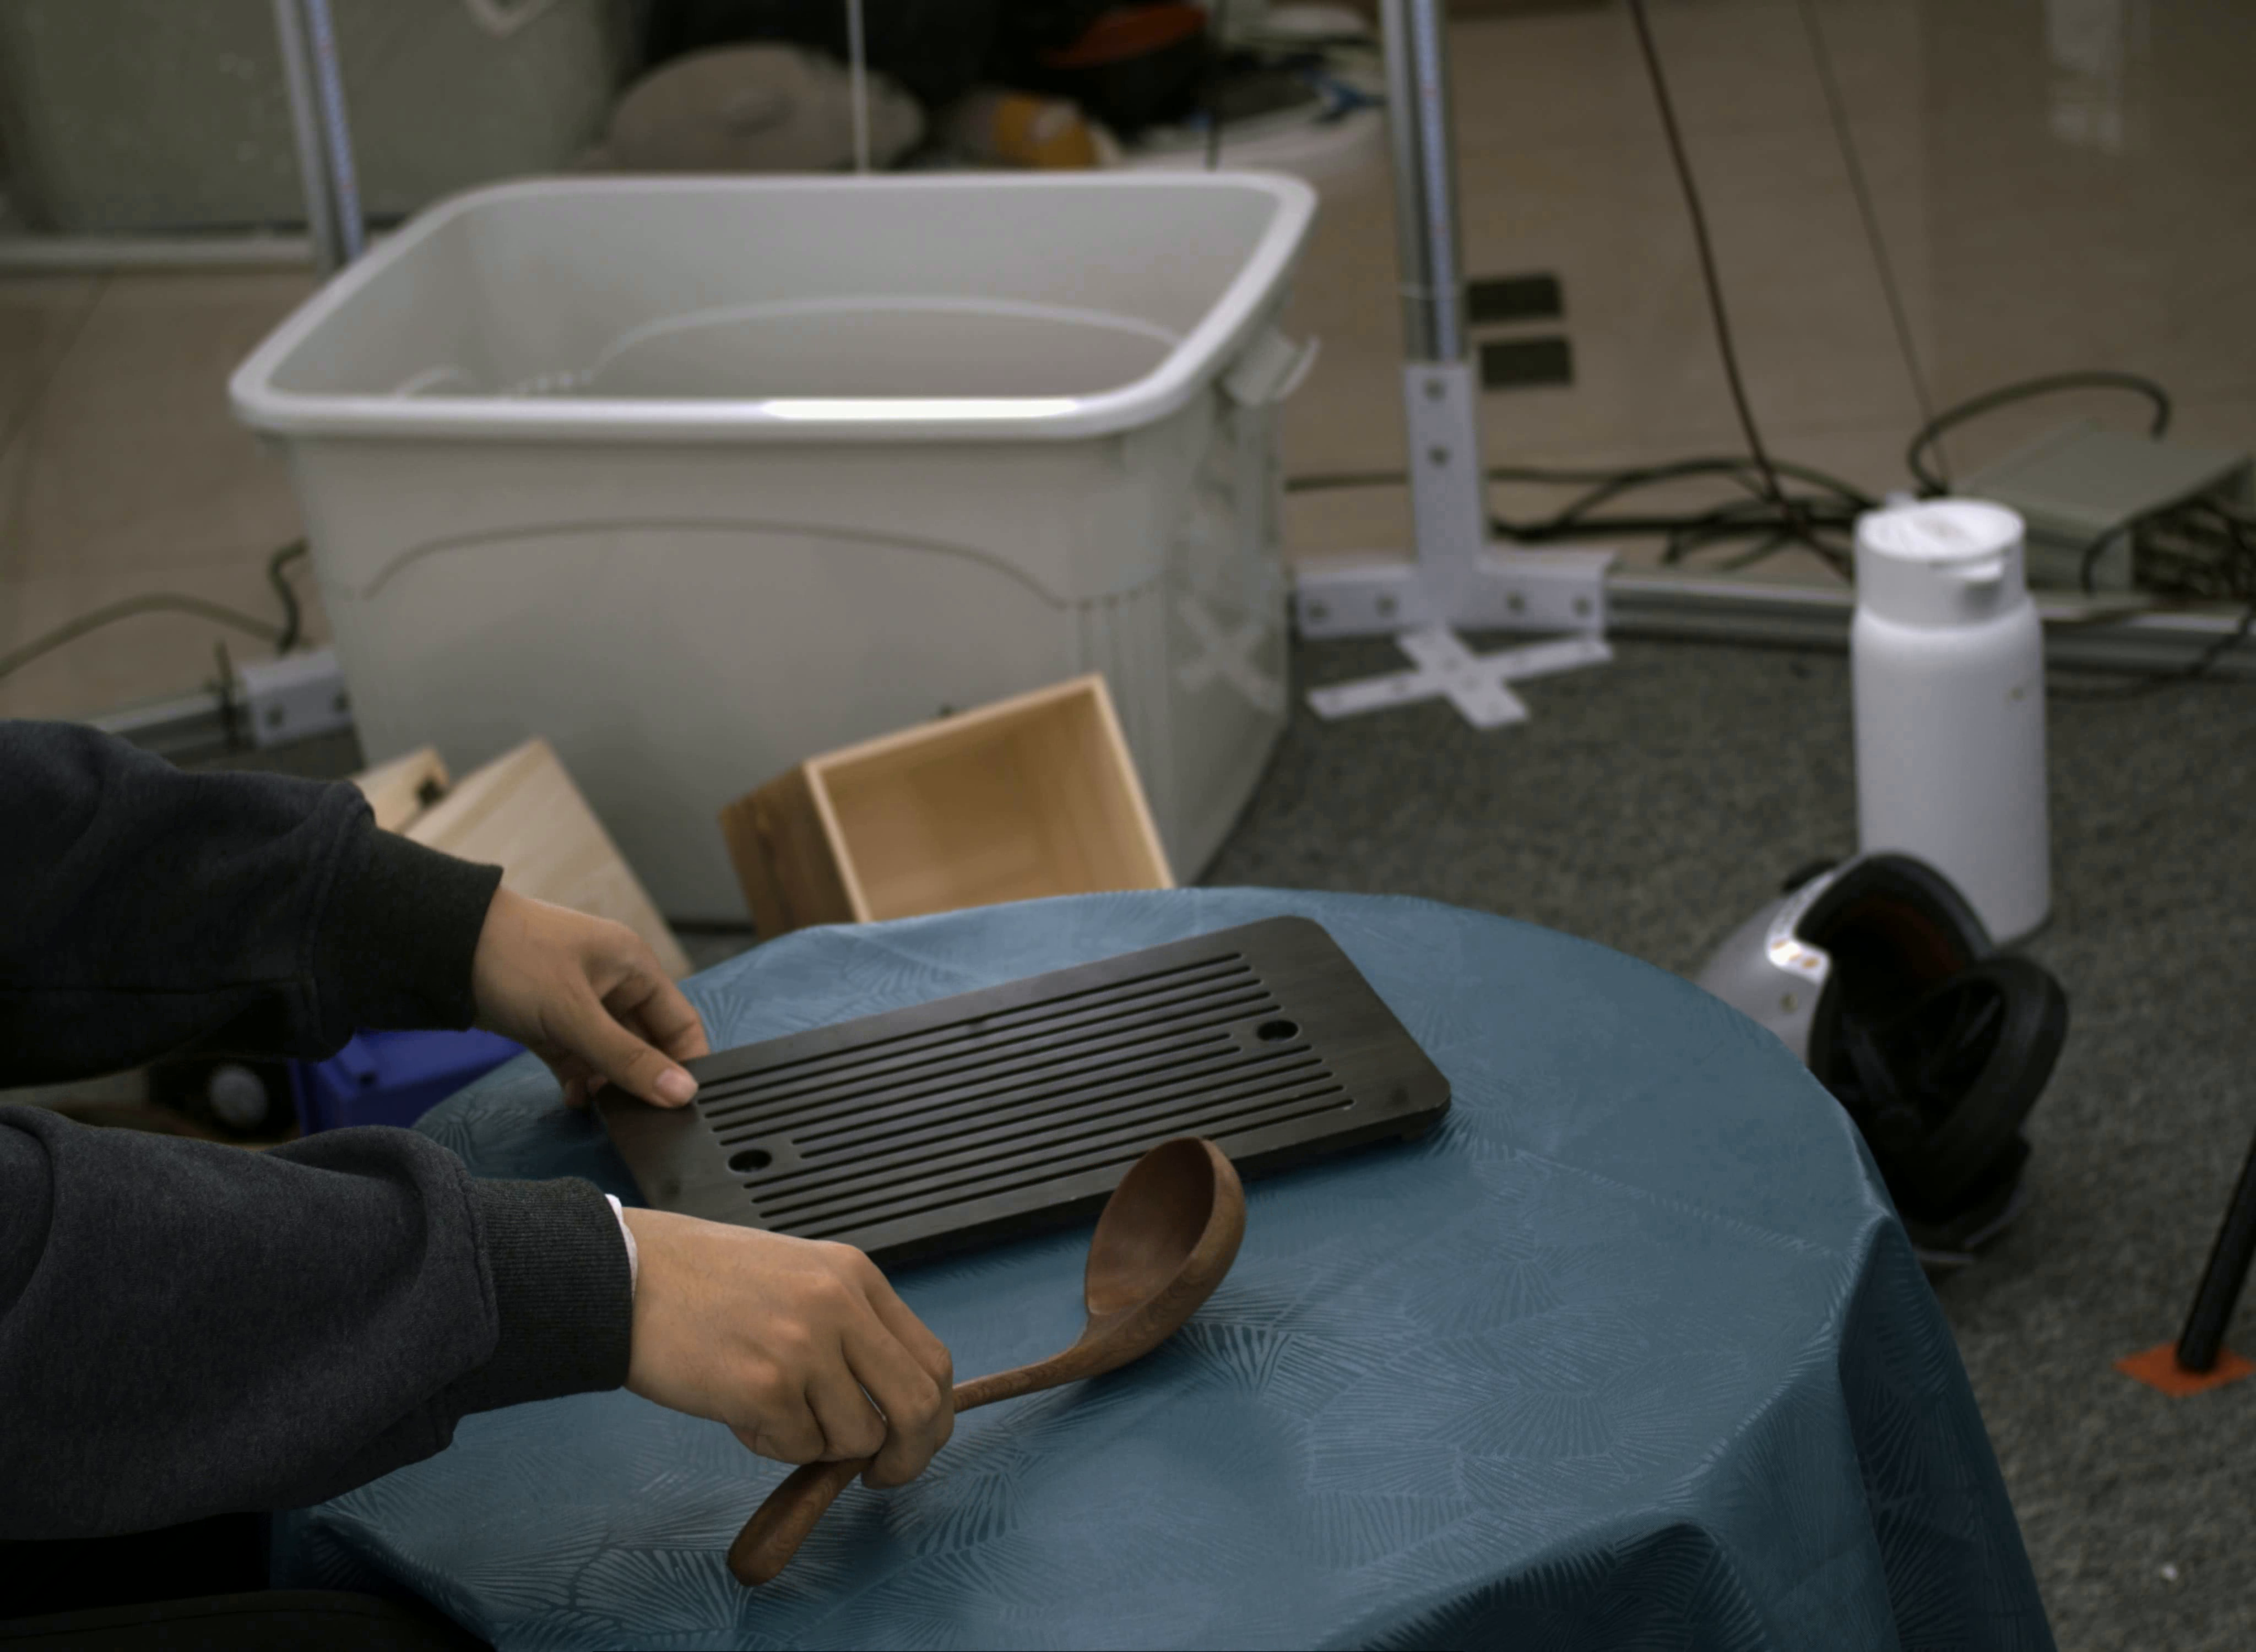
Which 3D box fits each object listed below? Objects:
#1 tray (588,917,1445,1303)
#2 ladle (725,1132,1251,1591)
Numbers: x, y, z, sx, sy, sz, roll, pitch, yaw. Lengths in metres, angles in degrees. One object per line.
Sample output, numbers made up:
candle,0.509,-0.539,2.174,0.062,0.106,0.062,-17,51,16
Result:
tray,-0.045,0.109,2.192,0.305,0.019,0.167,-13,29,-14
ladle,-0.053,0.184,1.986,0.258,0.065,0.077,-27,4,-38
